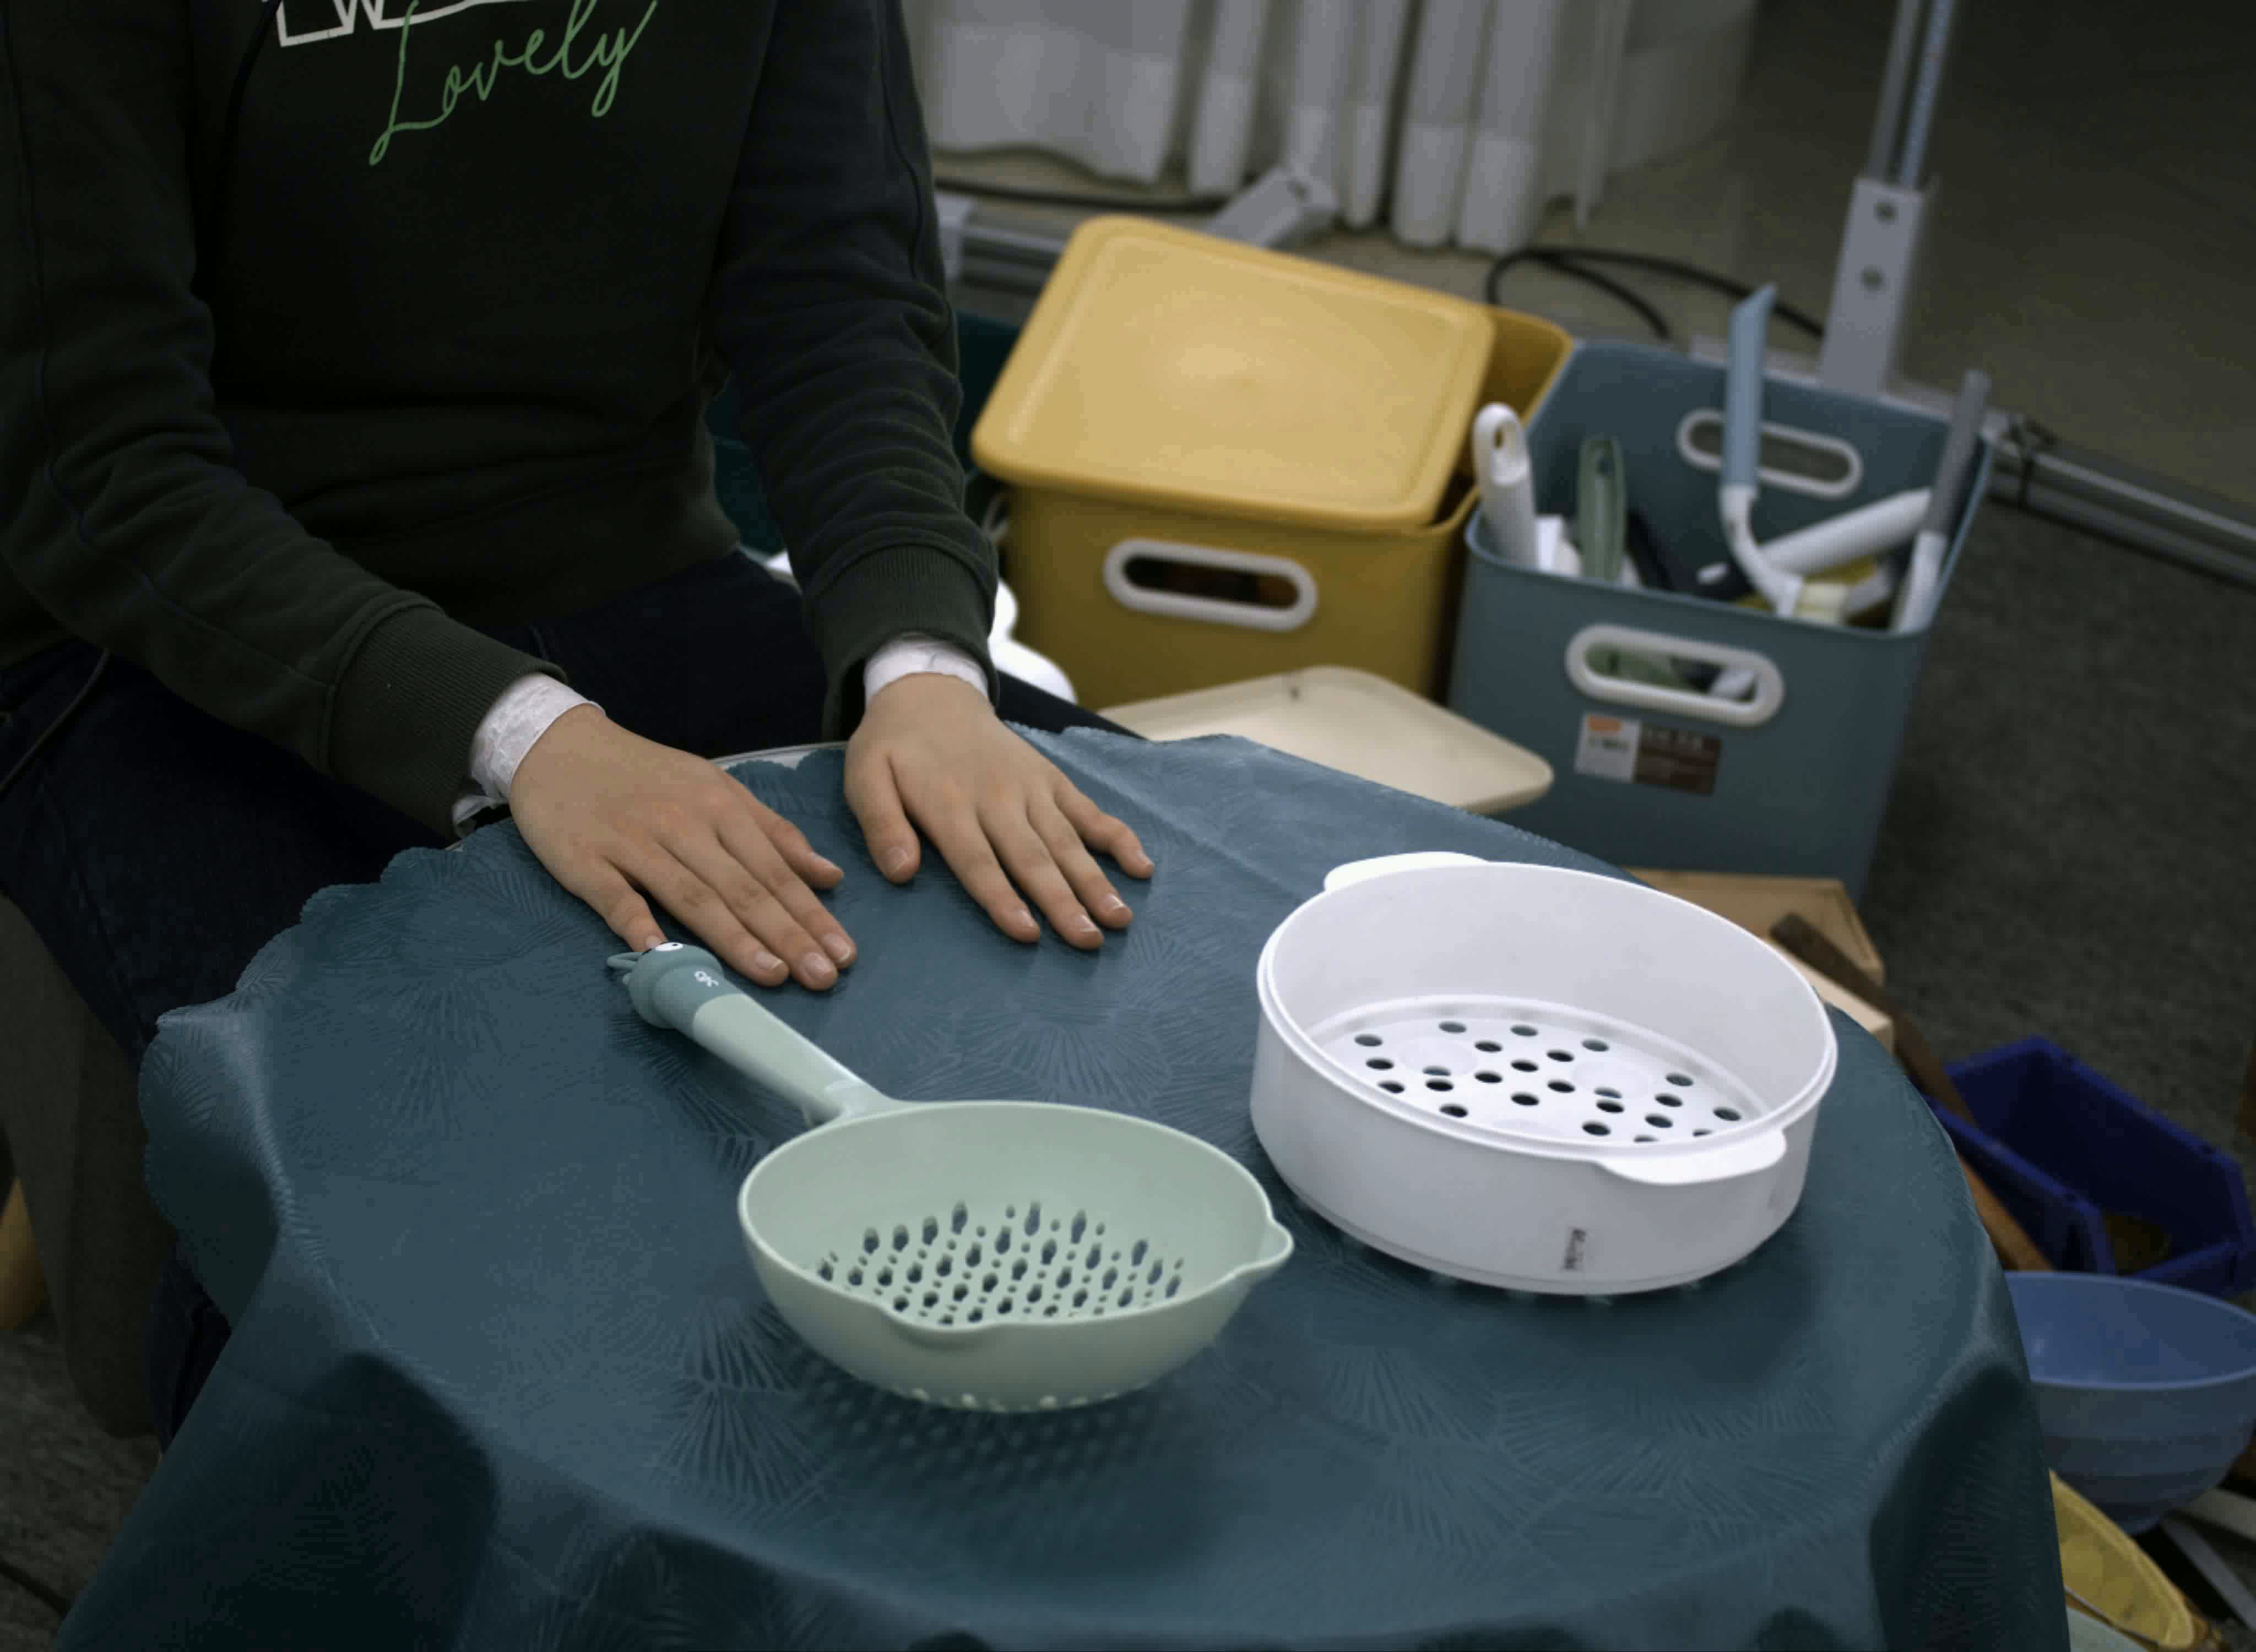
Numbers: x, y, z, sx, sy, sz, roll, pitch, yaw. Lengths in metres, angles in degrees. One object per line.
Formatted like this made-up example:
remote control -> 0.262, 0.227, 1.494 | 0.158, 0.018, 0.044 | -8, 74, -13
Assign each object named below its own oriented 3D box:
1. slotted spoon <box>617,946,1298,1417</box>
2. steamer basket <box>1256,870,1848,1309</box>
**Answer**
slotted spoon -> -0.087, 0.101, 1.754 | 0.168, 0.075, 0.362 | -9, 30, -29
steamer basket -> 0.143, 0.092, 1.825 | 0.200, 0.069, 0.232 | -7, 29, -27
